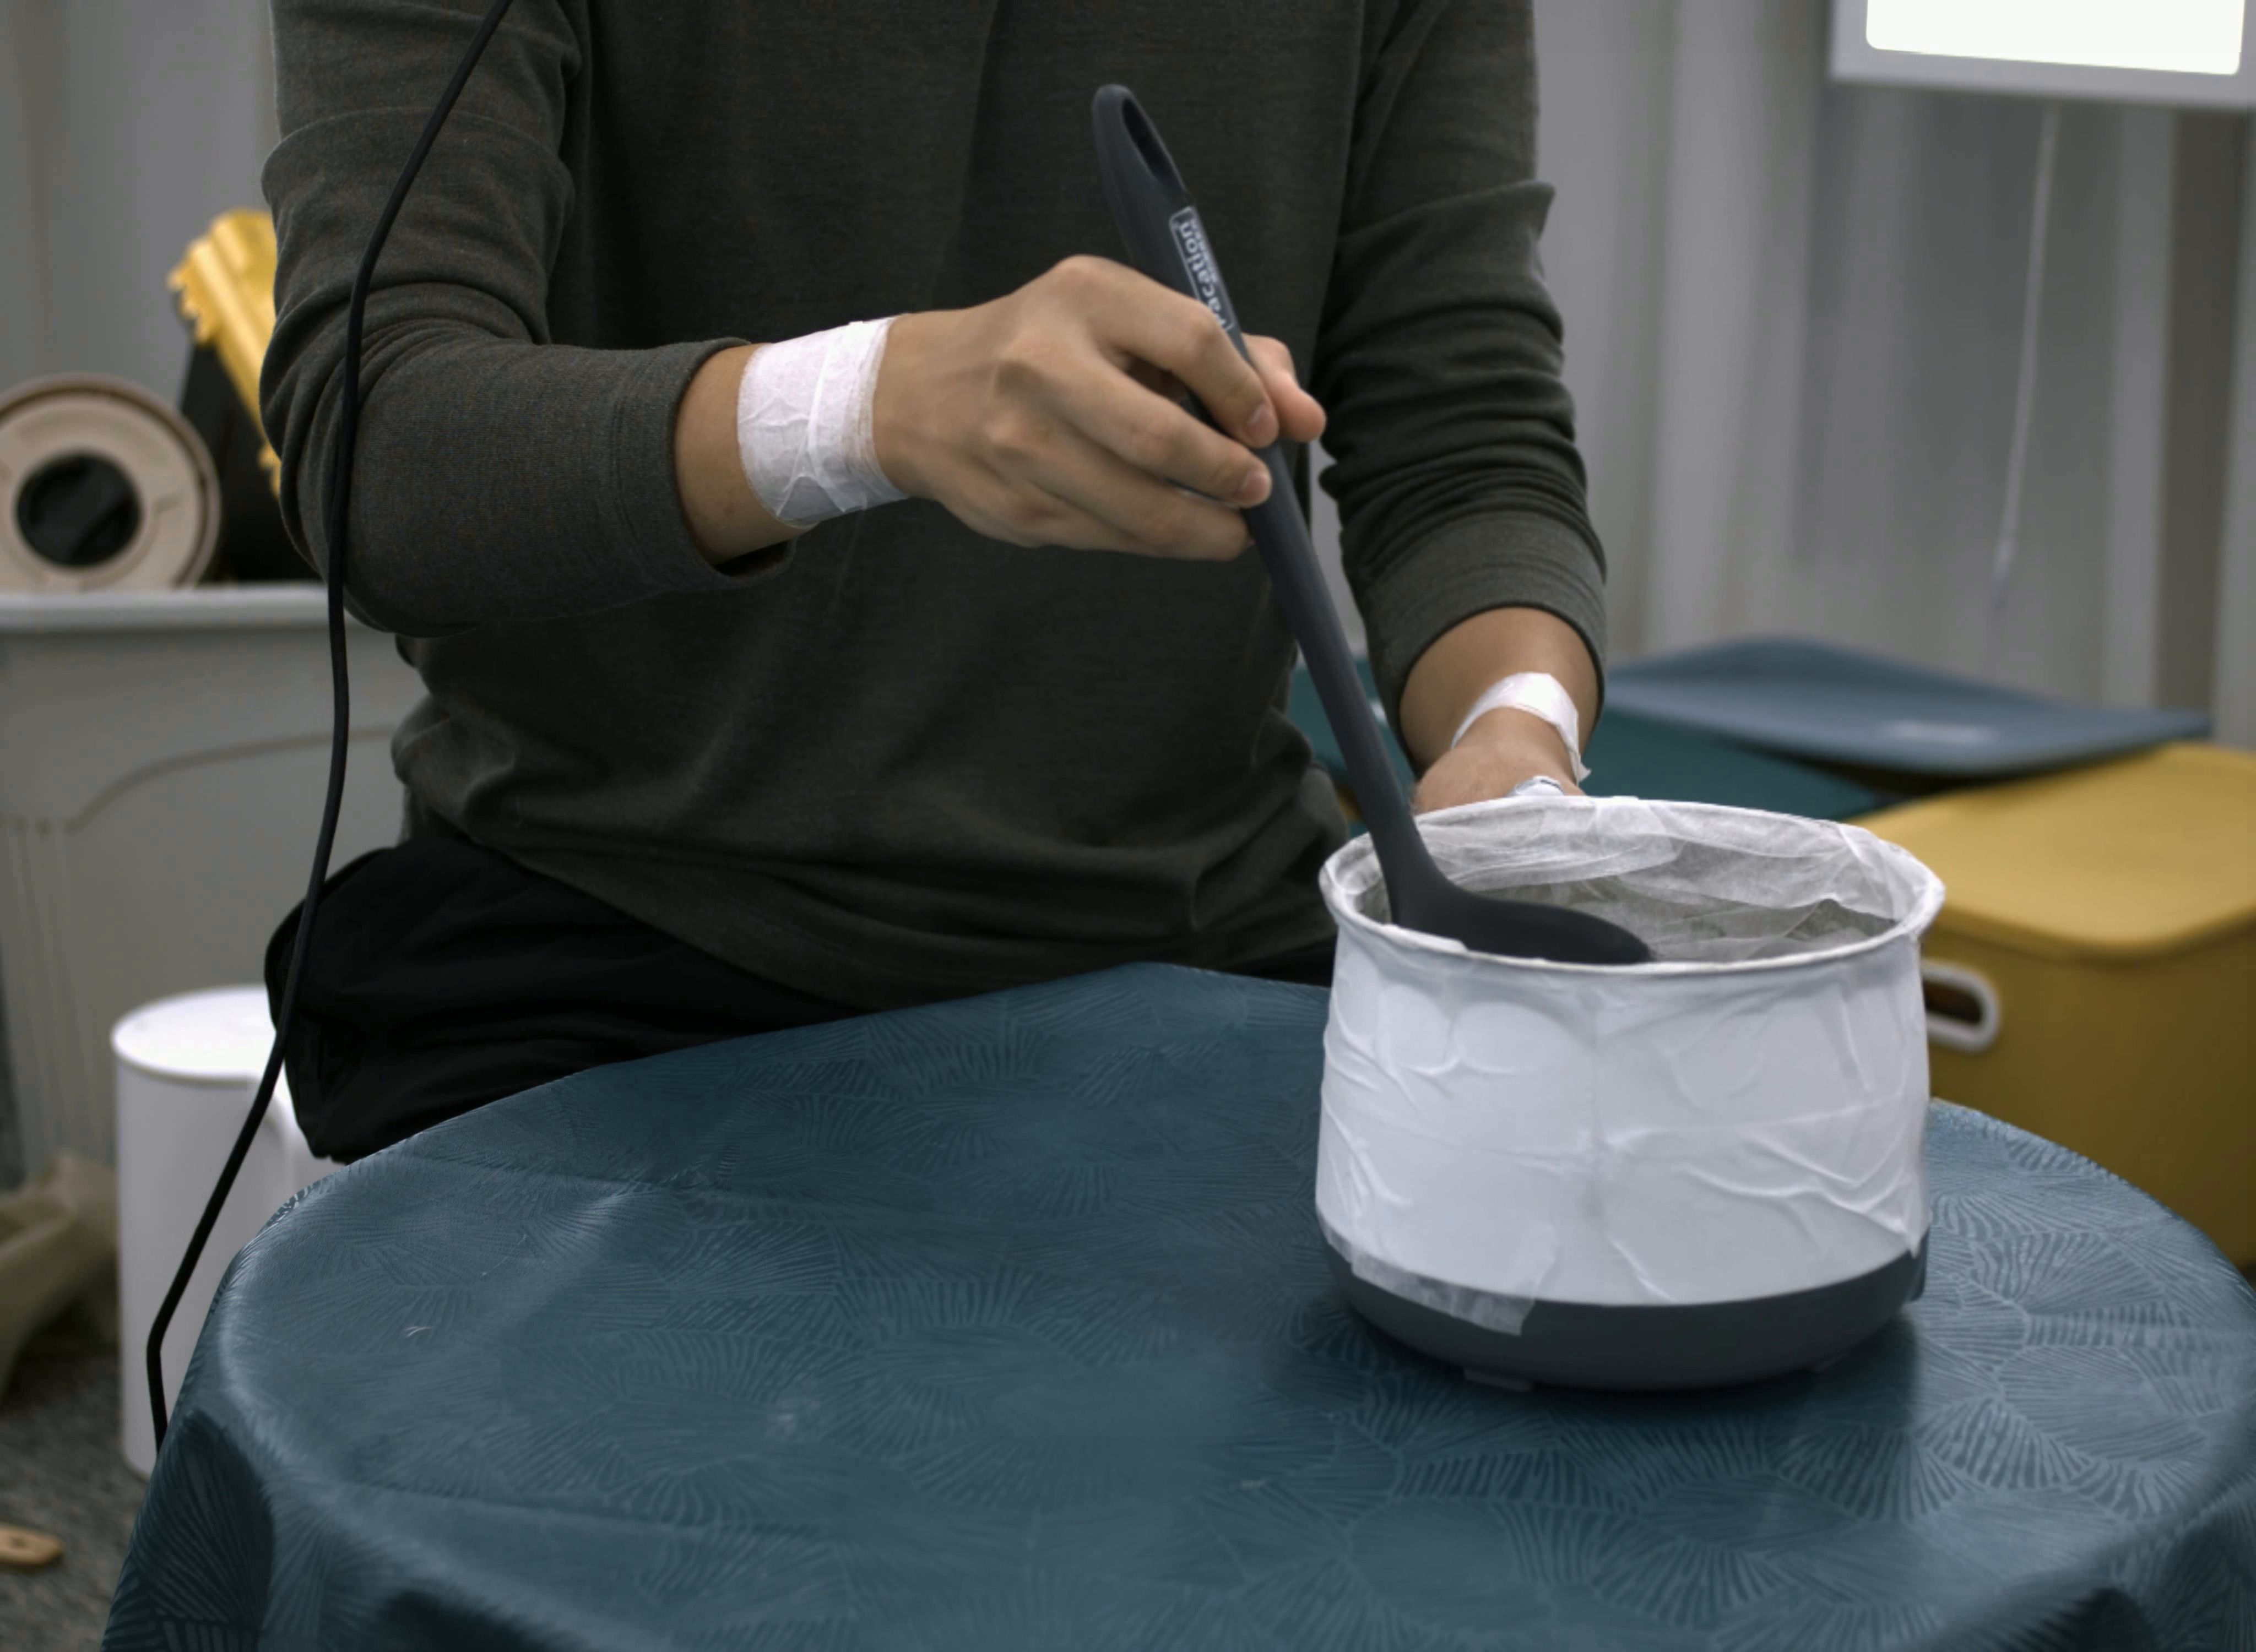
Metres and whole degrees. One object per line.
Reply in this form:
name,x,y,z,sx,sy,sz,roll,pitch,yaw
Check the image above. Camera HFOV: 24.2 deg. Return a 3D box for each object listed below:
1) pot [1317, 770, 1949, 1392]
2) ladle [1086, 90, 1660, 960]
pot,0.137,0.068,1.530,0.179,0.138,0.231,-3,16,-12
ladle,0.068,-0.066,1.482,0.063,0.316,0.086,-14,15,36
